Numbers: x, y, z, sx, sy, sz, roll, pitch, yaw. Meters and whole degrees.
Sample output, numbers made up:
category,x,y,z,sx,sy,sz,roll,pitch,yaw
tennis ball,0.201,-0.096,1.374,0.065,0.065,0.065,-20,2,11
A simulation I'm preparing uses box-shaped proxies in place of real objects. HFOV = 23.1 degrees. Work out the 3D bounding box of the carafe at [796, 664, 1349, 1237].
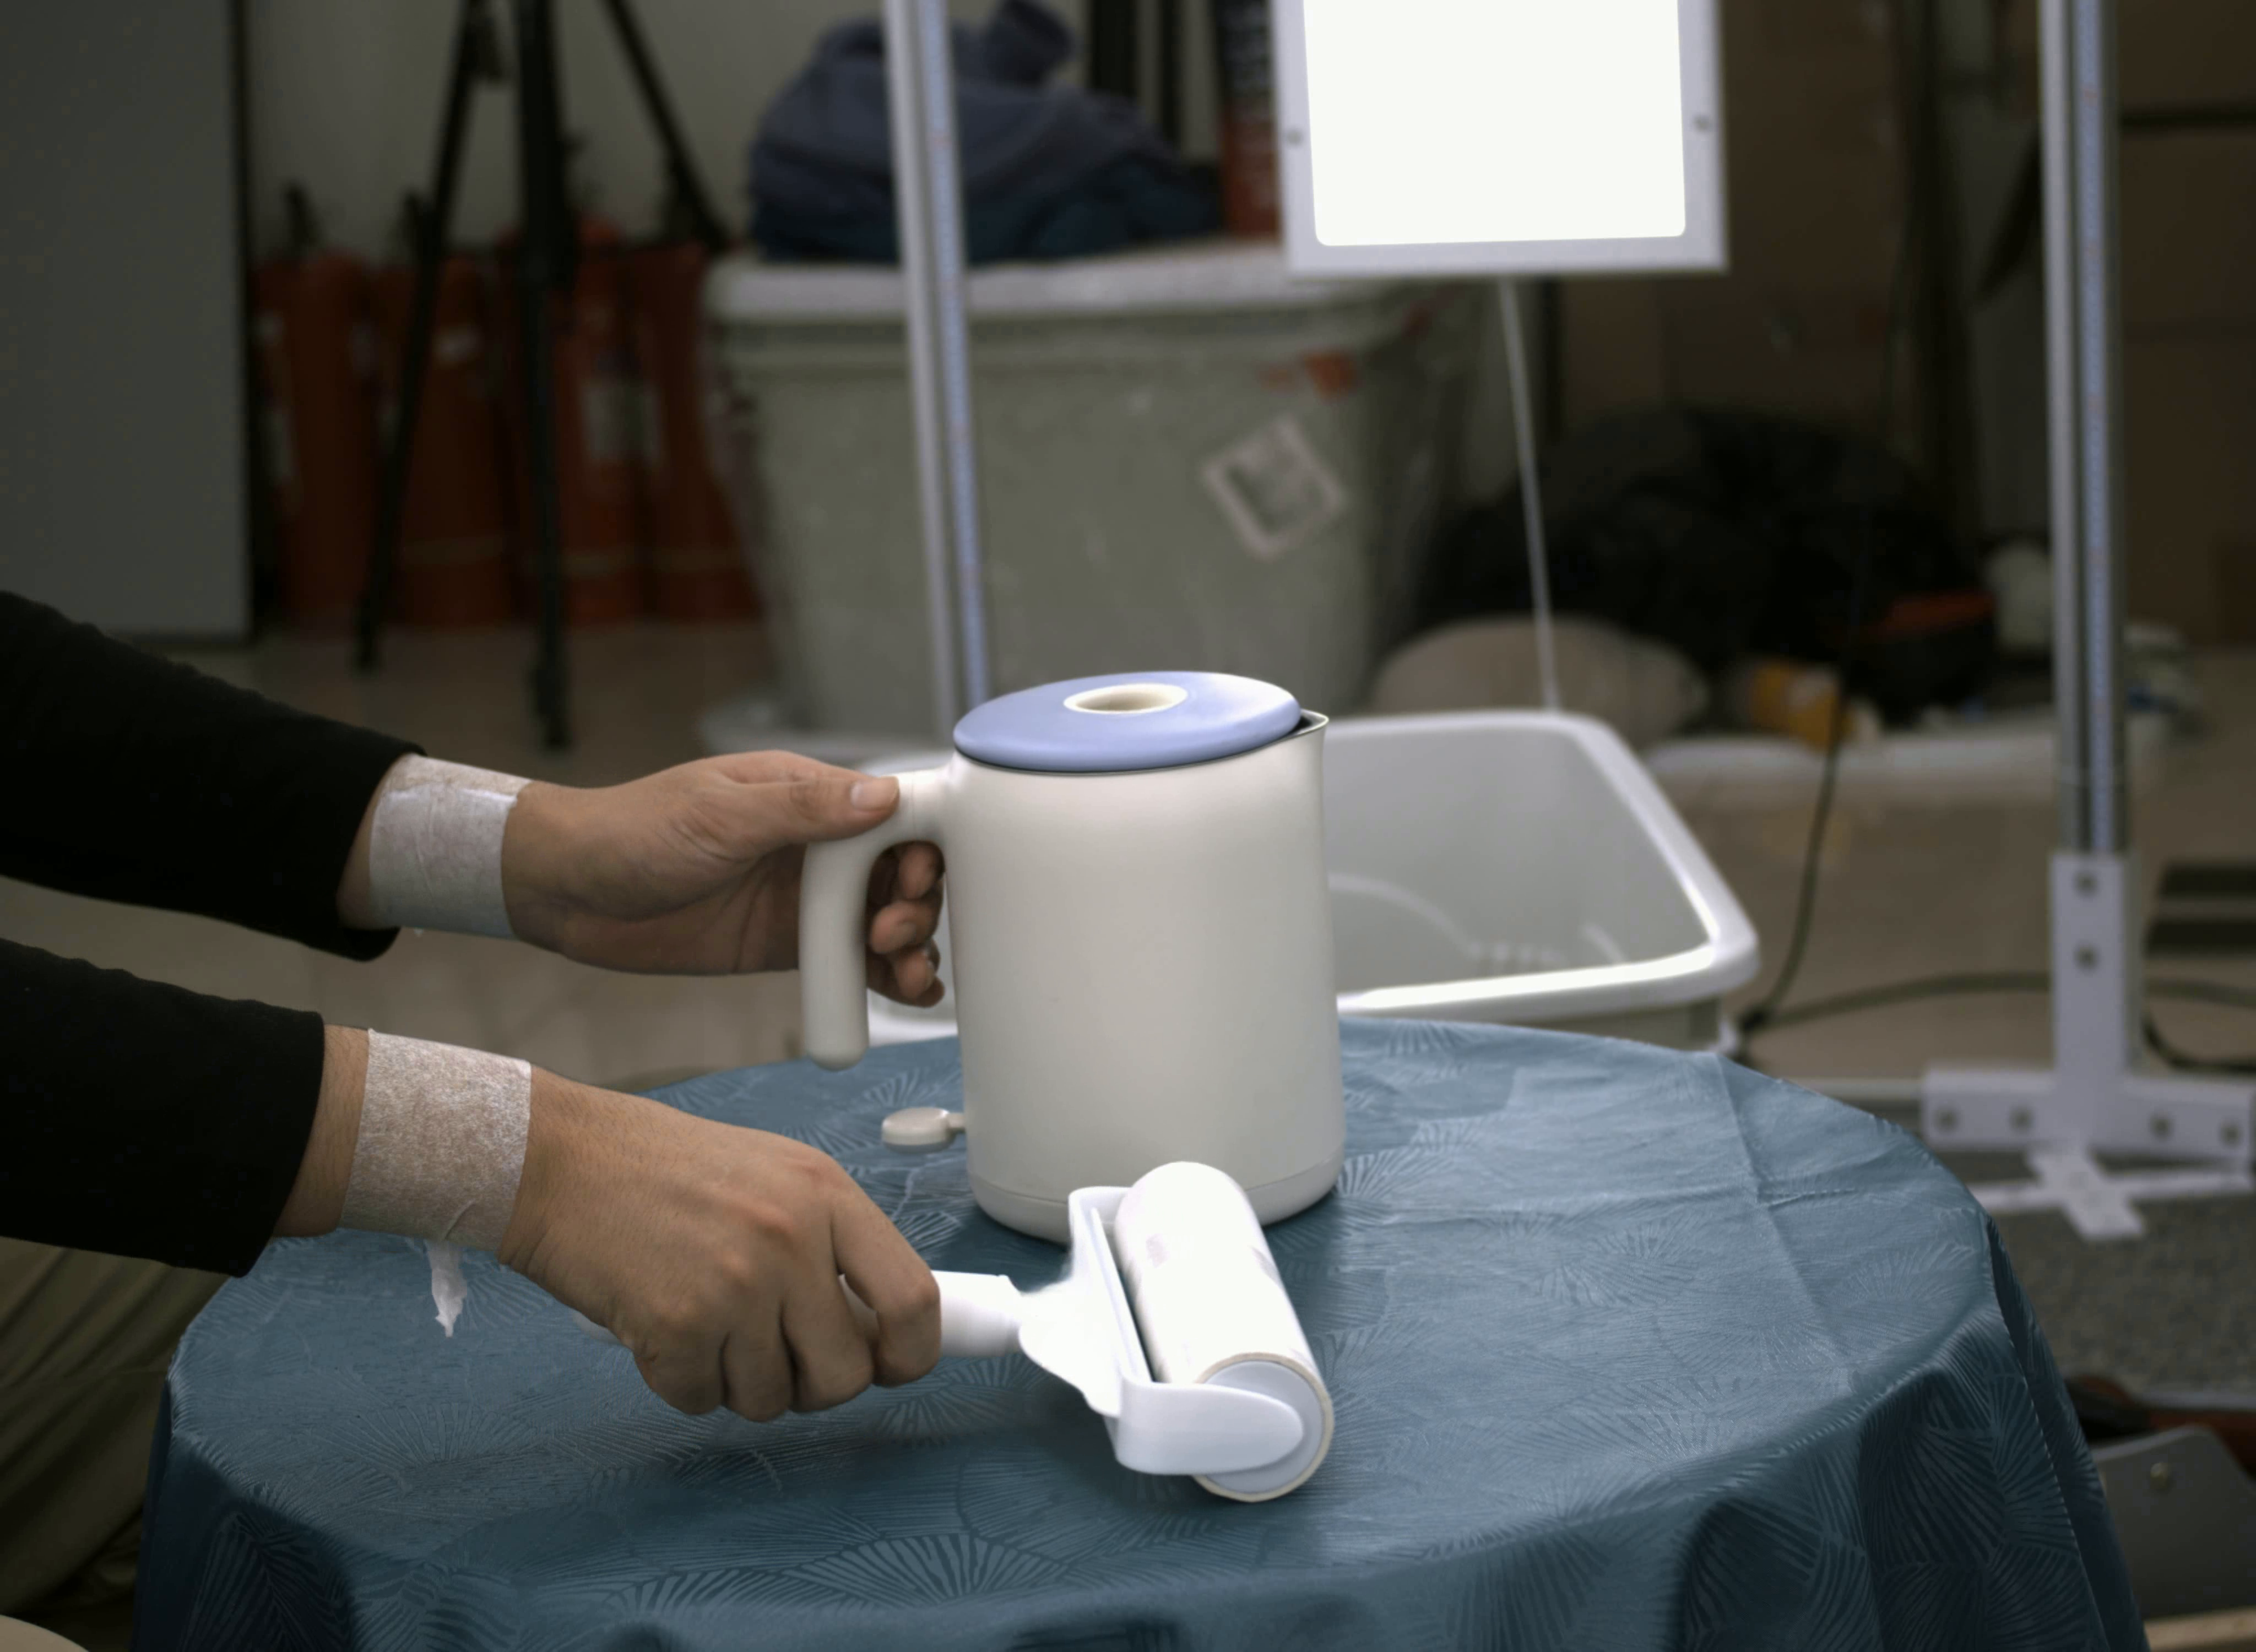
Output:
category,x,y,z,sx,sy,sz,roll,pitch,yaw
carafe,-0.019,0.045,1.876,0.191,0.183,0.131,-5,13,6

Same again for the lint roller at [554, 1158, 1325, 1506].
category,x,y,z,sx,sy,sz,roll,pitch,yaw
lint roller,-0.061,0.146,1.676,0.224,0.048,0.203,4,14,-6
